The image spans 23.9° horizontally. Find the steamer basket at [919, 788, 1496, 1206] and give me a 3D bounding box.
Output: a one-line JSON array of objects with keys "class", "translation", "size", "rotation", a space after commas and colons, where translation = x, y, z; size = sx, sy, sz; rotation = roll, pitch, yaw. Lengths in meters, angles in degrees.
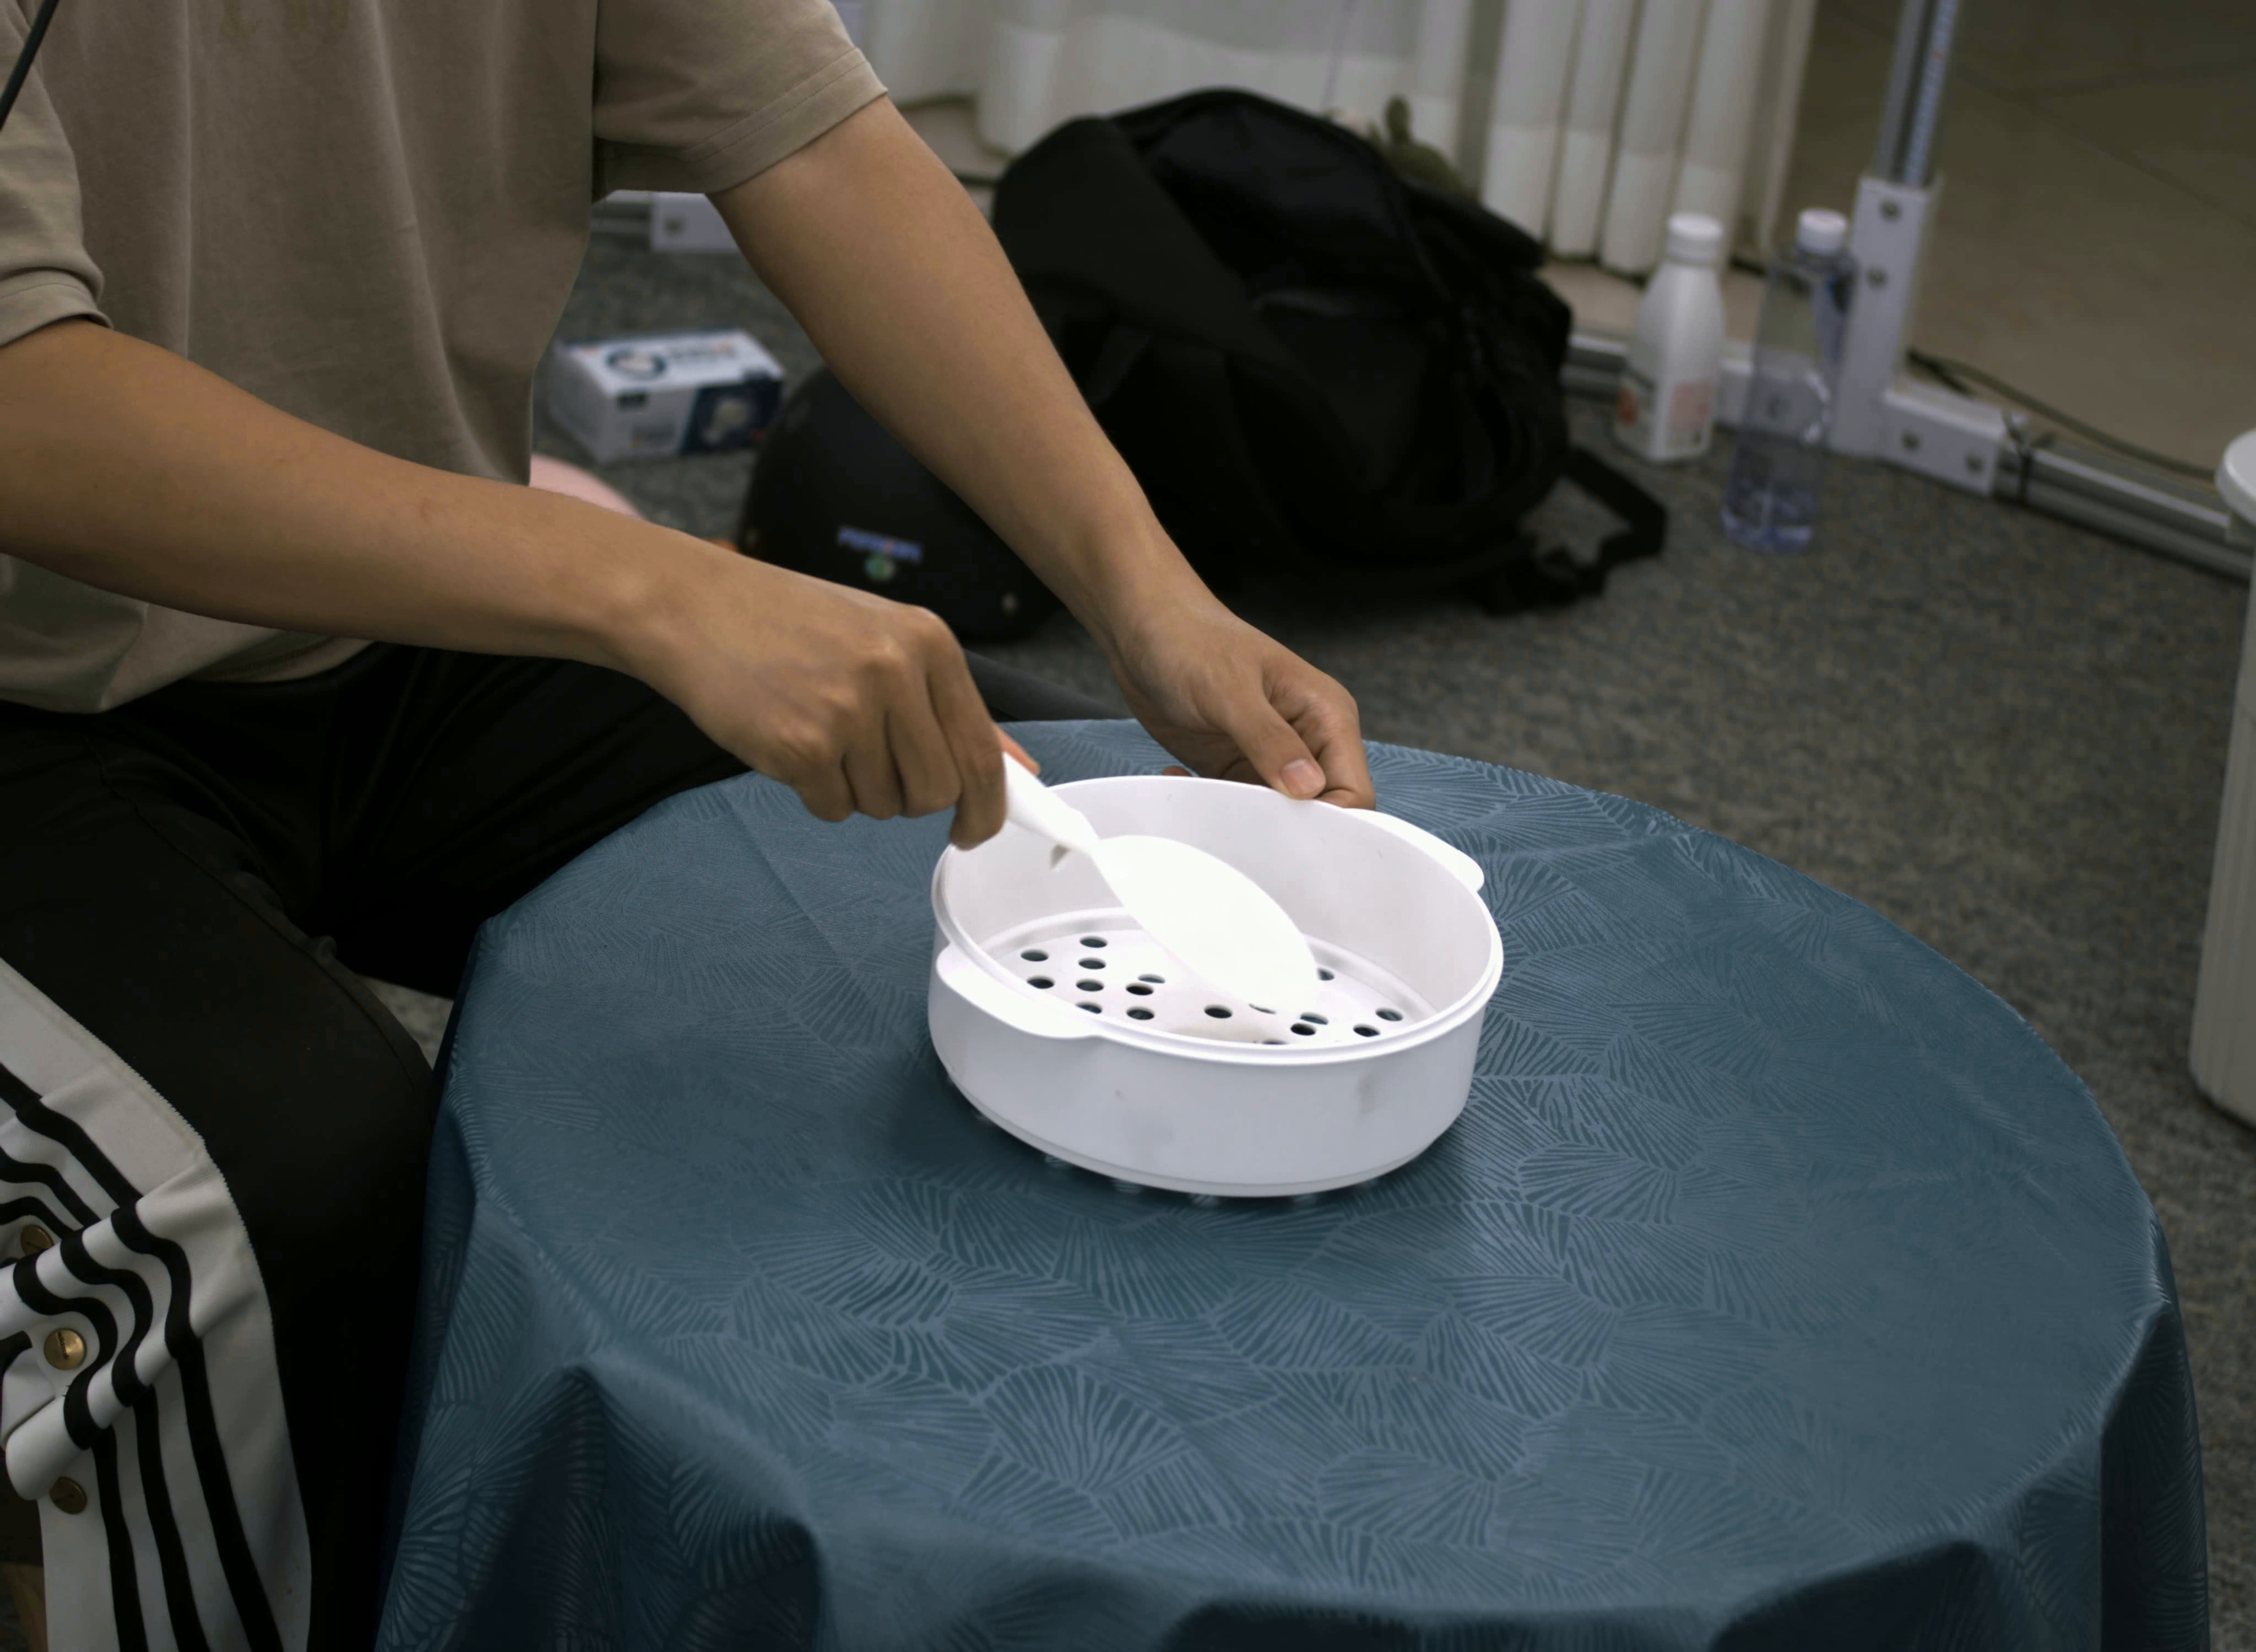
[{"class": "steamer basket", "translation": [0.025, 0.061, 1.864], "size": [0.229, 0.069, 0.203], "rotation": [-16, 35, -42]}]

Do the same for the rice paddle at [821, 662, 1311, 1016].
[{"class": "rice paddle", "translation": [-0.015, 0.006, 1.842], "size": [0.204, 0.029, 0.069], "rotation": [32, 33, -20]}]
